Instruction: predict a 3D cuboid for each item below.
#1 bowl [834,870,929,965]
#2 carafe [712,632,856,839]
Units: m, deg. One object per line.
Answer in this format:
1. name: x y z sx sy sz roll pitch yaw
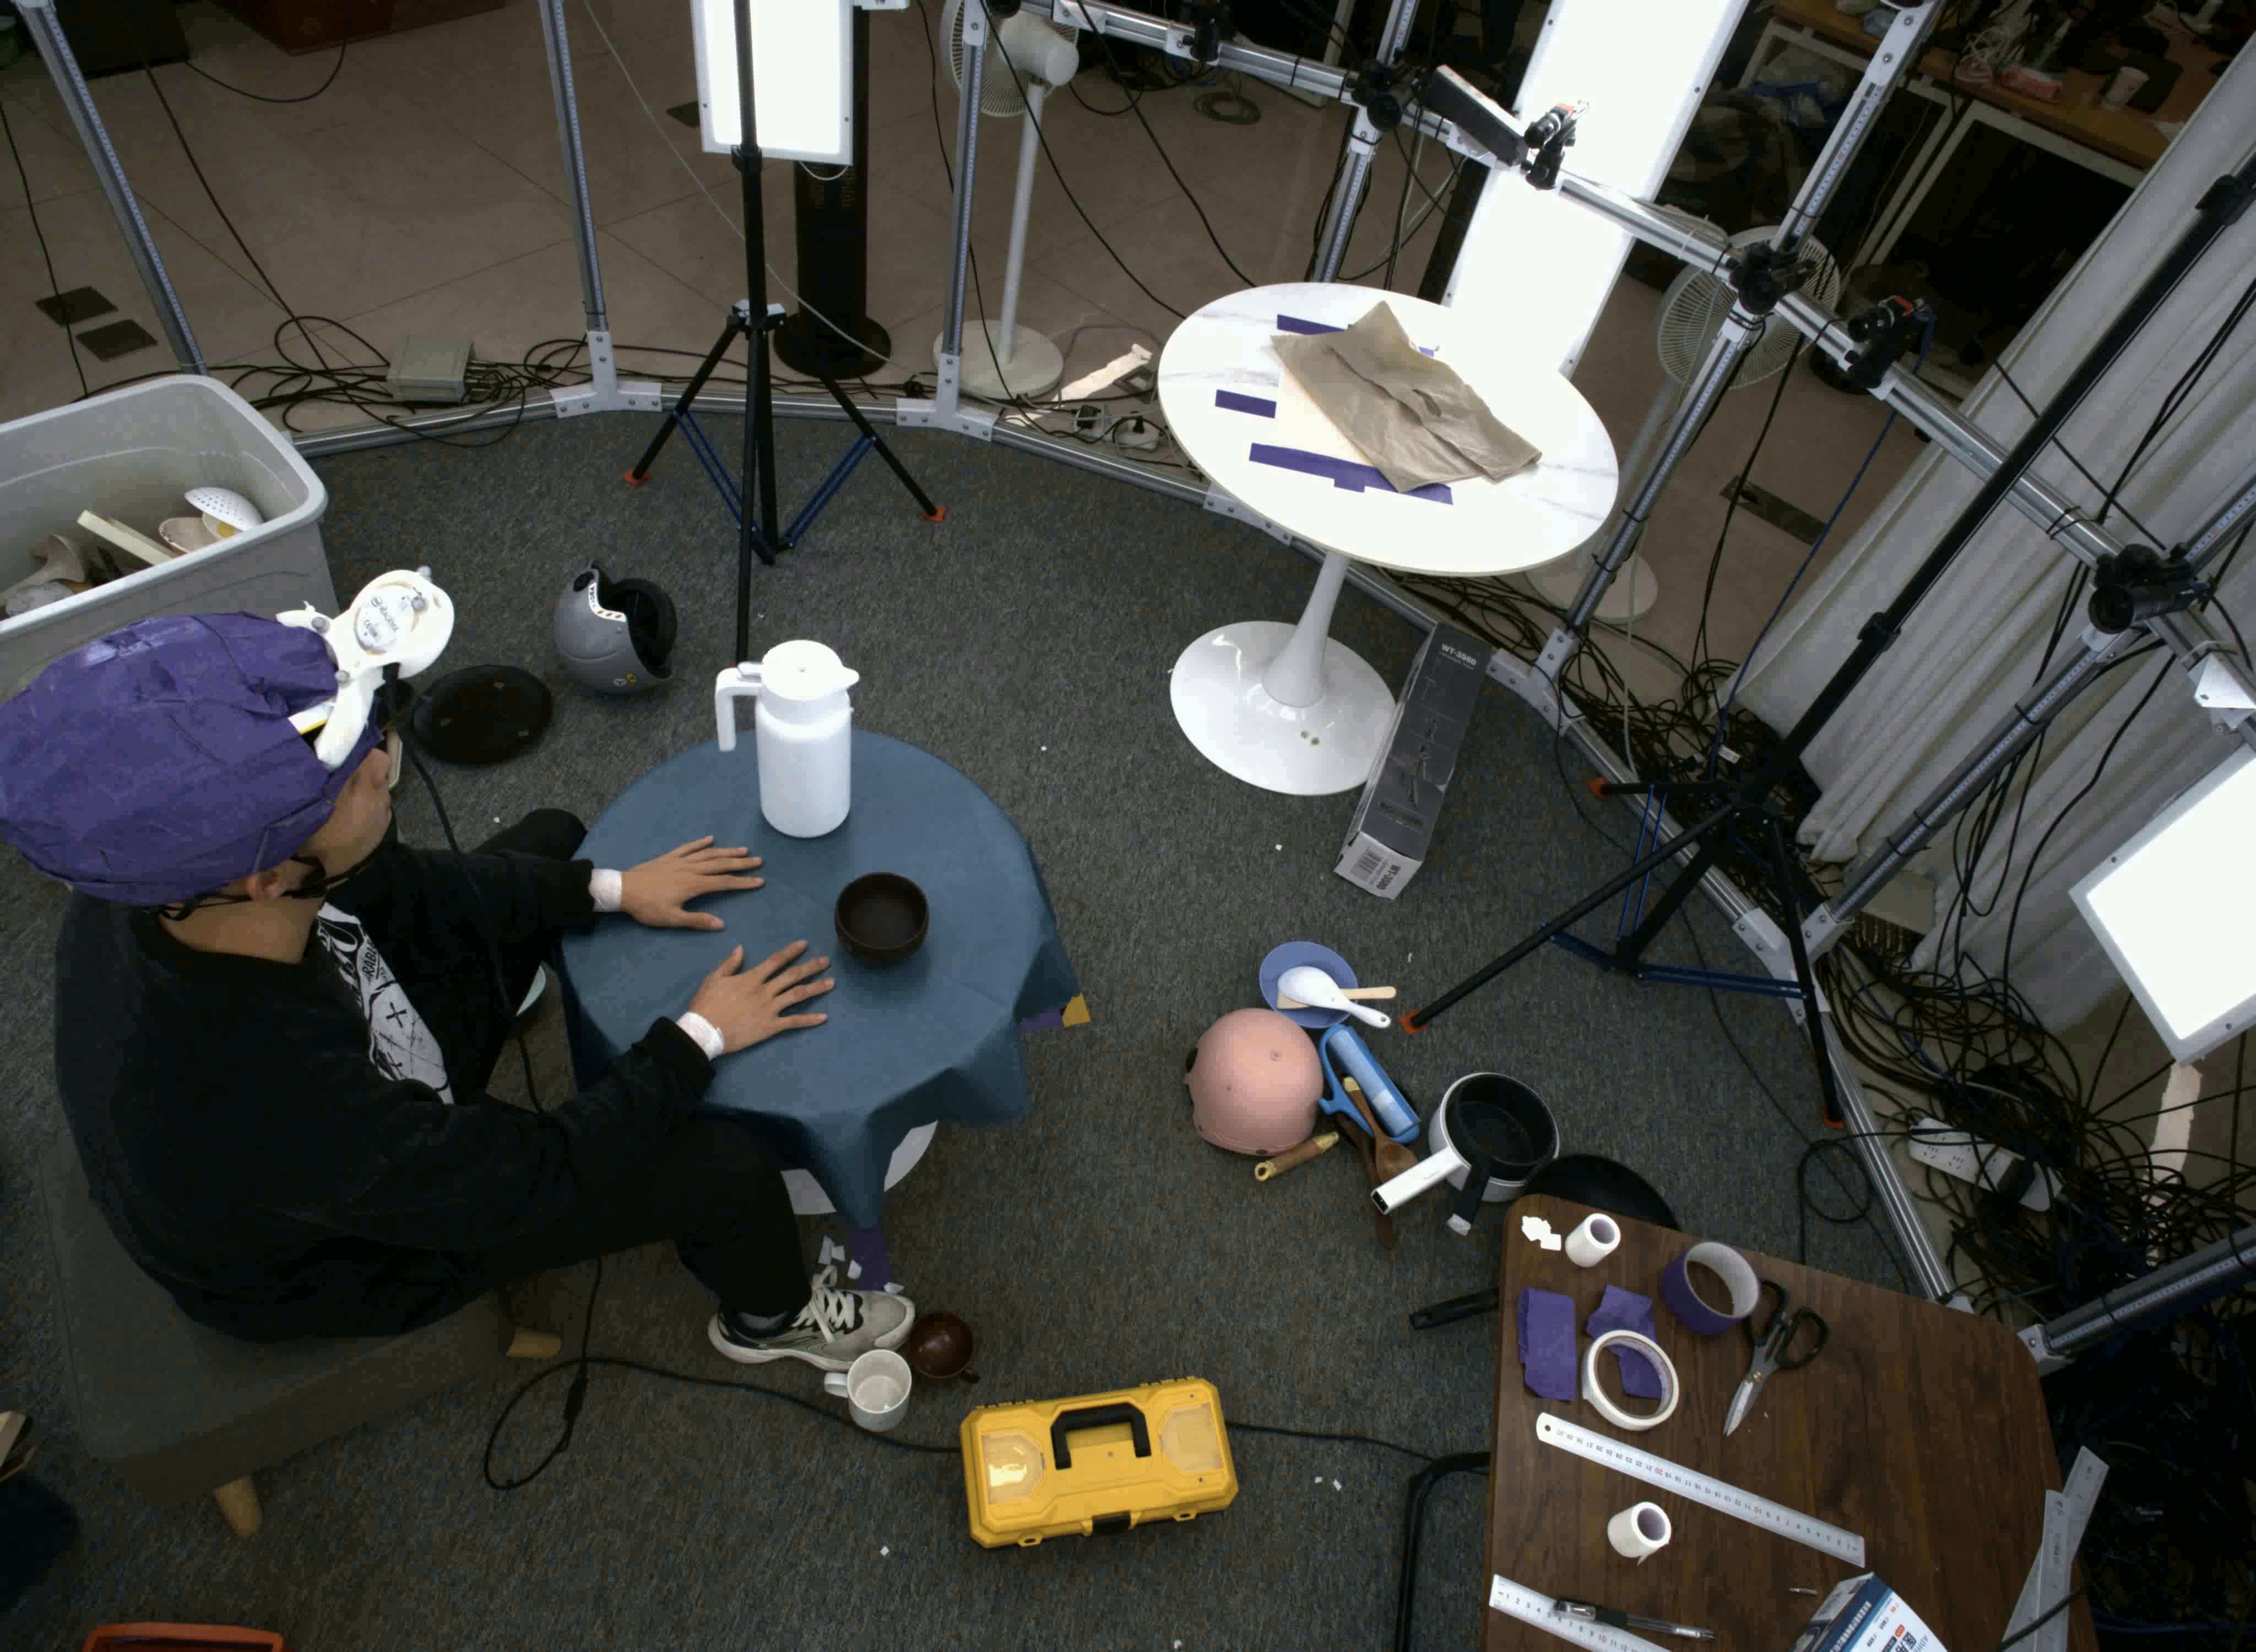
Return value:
1. bowl: -0.306 0.120 1.614 0.118 0.071 0.116 7 52 -8
2. carafe: -0.429 -0.109 1.629 0.173 0.274 0.121 -1 54 -13
